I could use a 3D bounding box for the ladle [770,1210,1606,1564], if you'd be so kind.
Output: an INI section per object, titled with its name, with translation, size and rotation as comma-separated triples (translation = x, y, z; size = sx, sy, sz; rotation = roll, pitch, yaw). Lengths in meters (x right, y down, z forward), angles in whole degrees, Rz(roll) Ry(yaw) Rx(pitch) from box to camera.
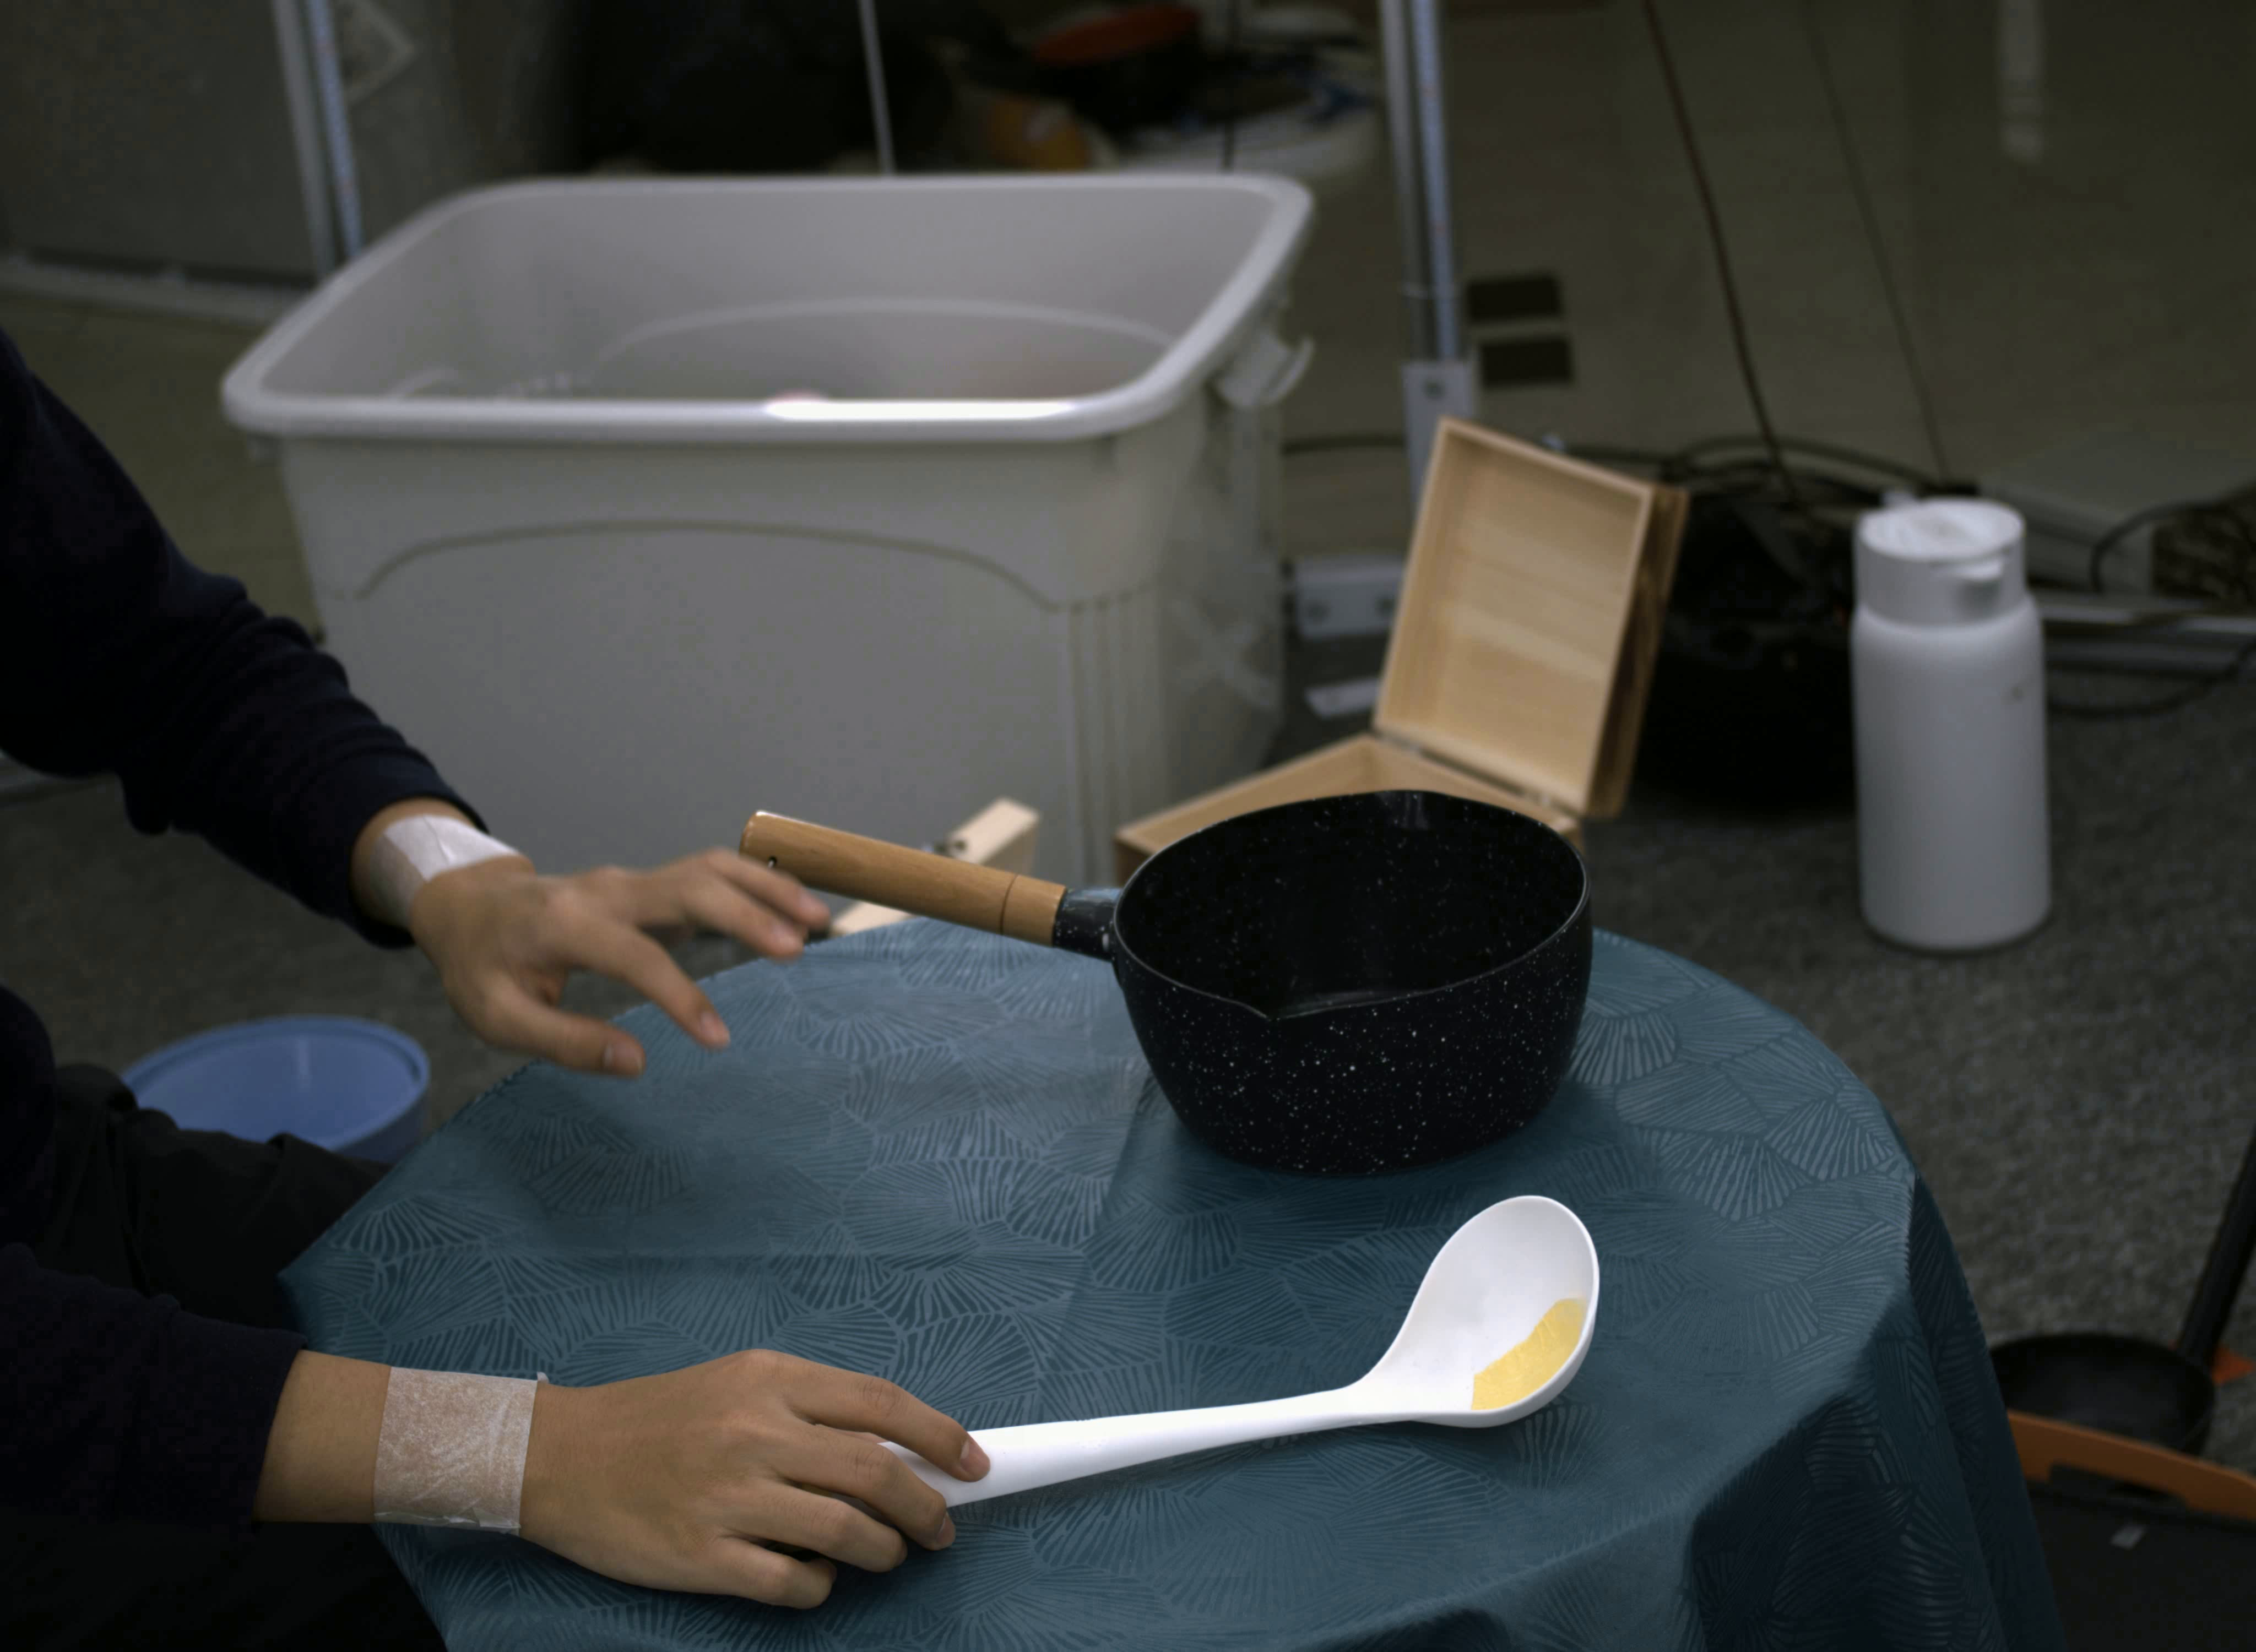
[ladle]
translation = 0.020, 0.198, 1.945
size = 0.292, 0.071, 0.088
rotation = -10, 48, -6

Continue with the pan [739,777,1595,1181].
[pan]
translation = 0.012, 0.051, 2.202
size = 0.342, 0.110, 0.204
rotation = 3, 28, 16
